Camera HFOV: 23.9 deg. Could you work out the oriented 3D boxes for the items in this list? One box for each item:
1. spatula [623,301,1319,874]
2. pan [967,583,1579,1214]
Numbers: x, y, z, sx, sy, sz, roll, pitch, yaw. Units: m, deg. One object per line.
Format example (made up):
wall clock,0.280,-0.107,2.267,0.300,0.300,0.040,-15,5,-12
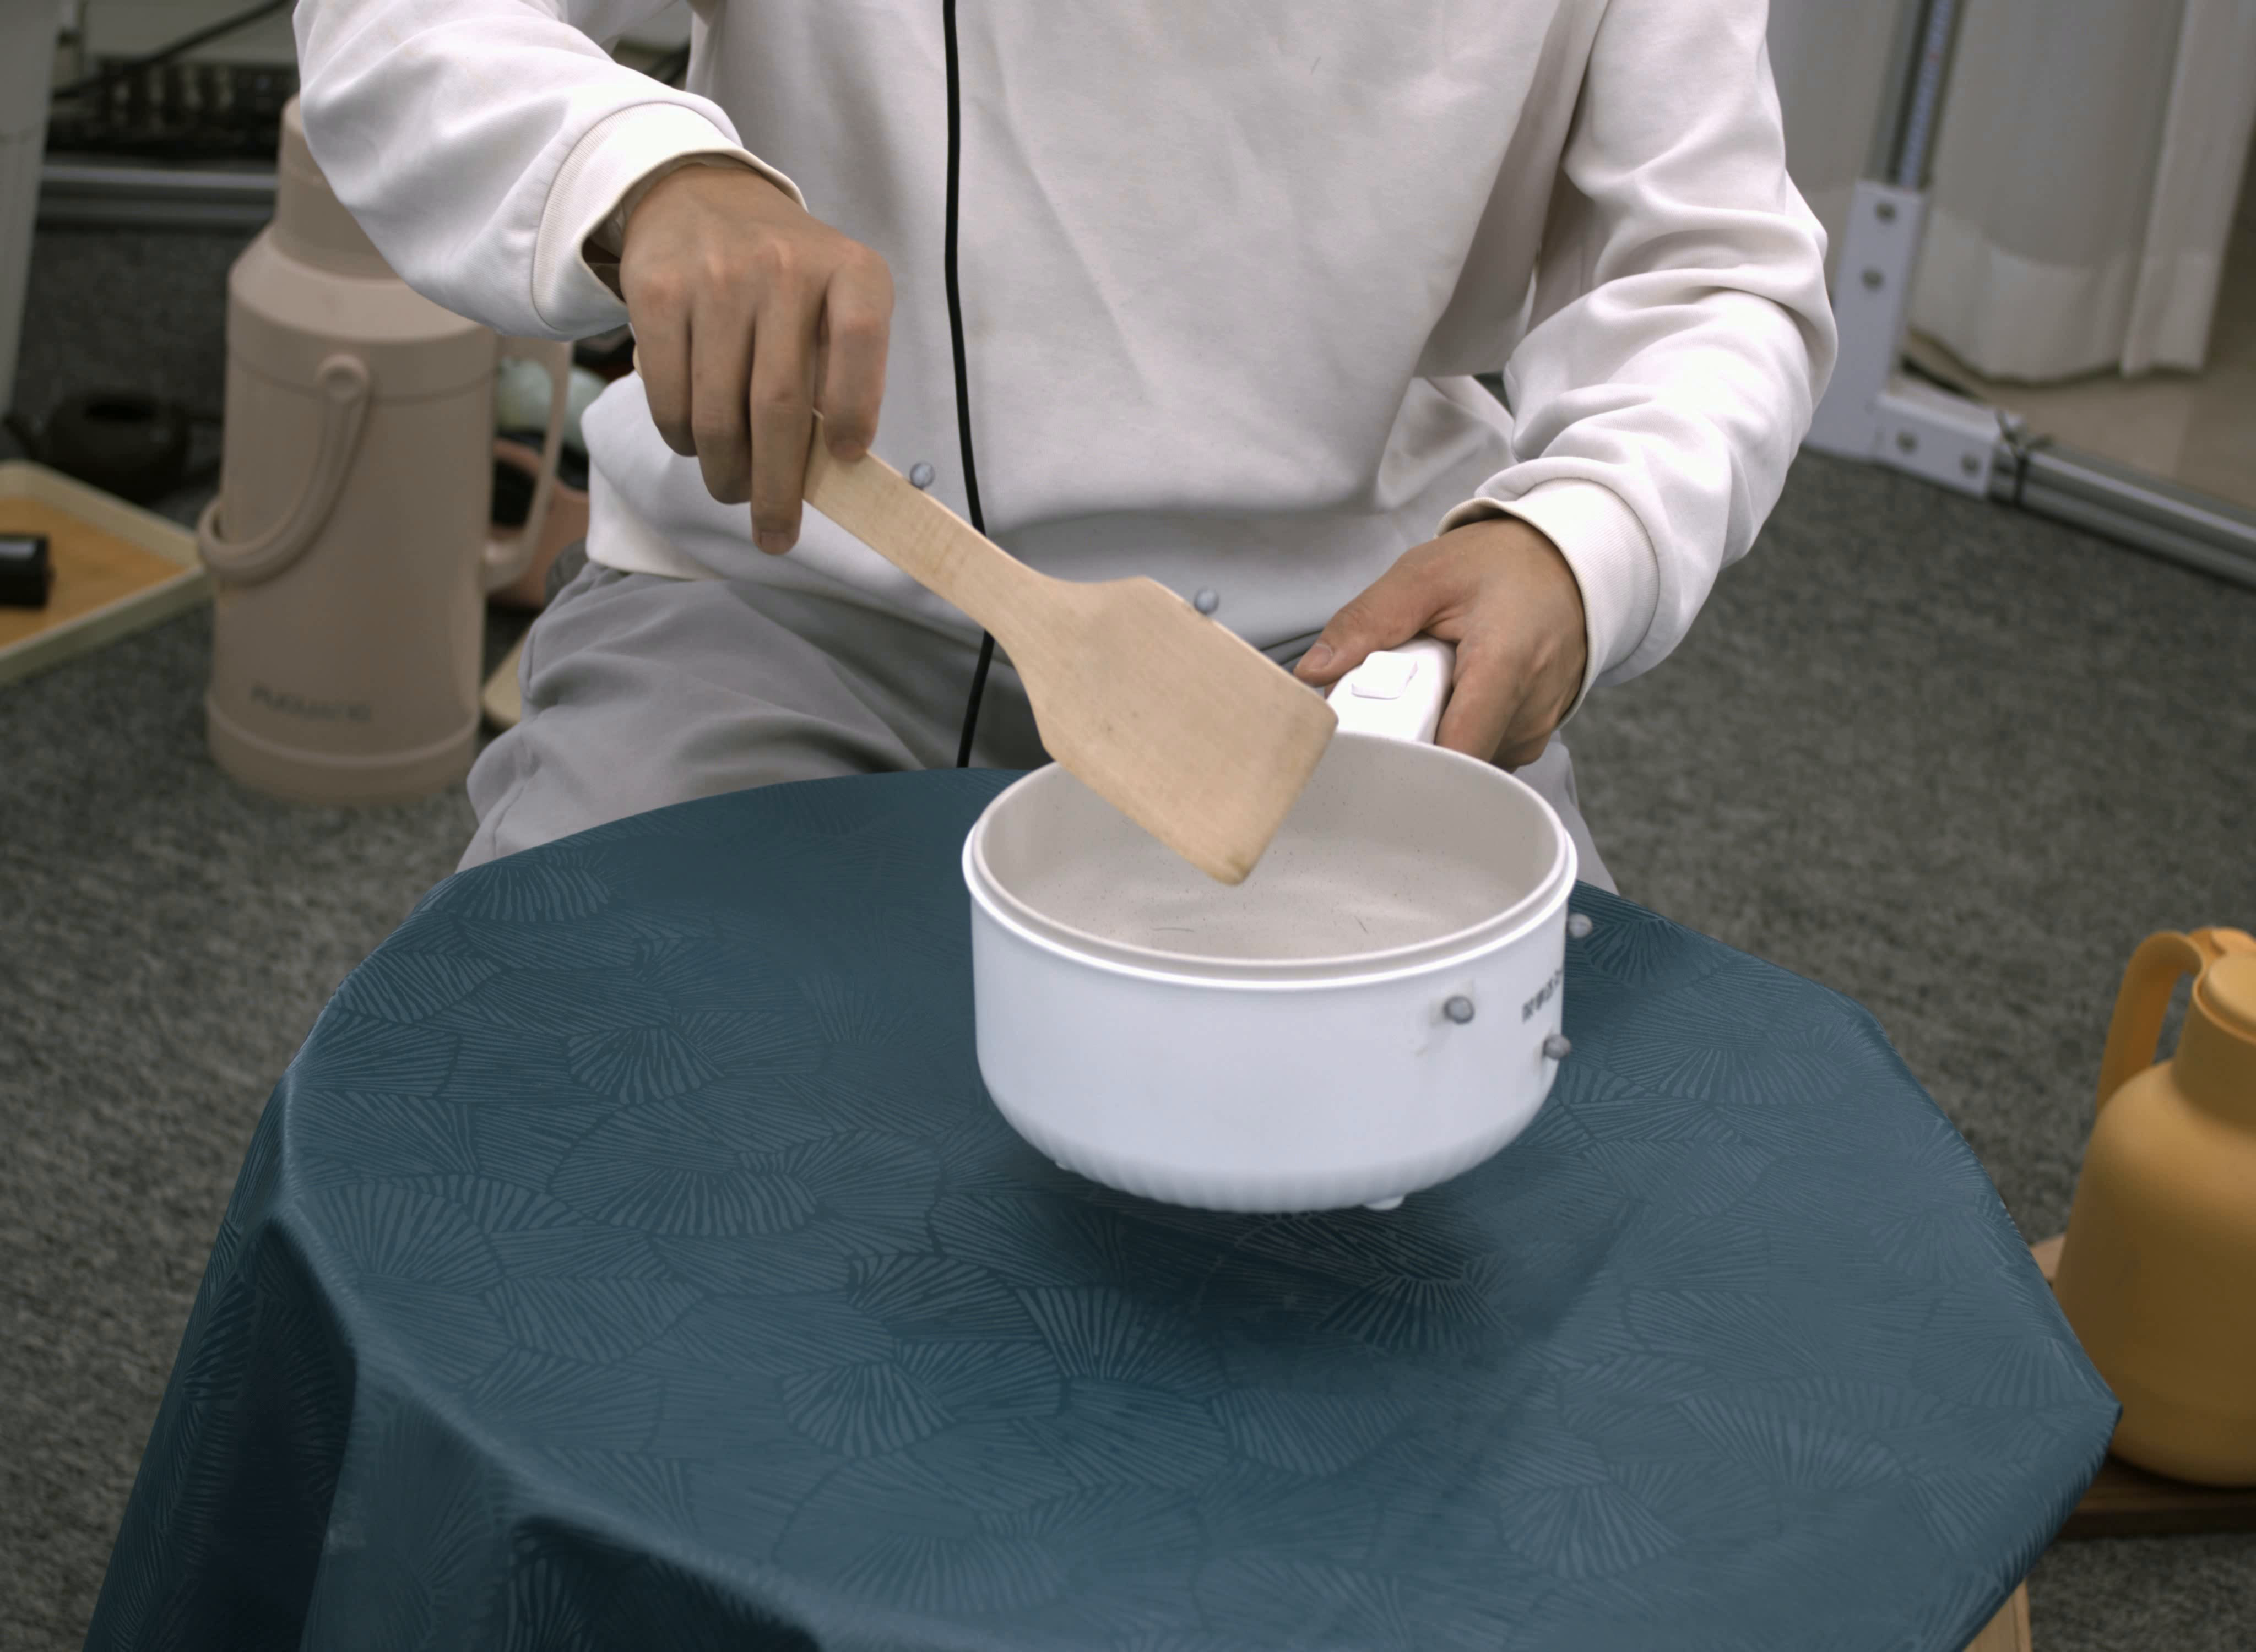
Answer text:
spatula,-0.061,-0.092,1.766,0.295,0.072,0.010,37,15,24
pan,0.068,0.021,1.826,0.201,0.102,0.355,6,24,15
